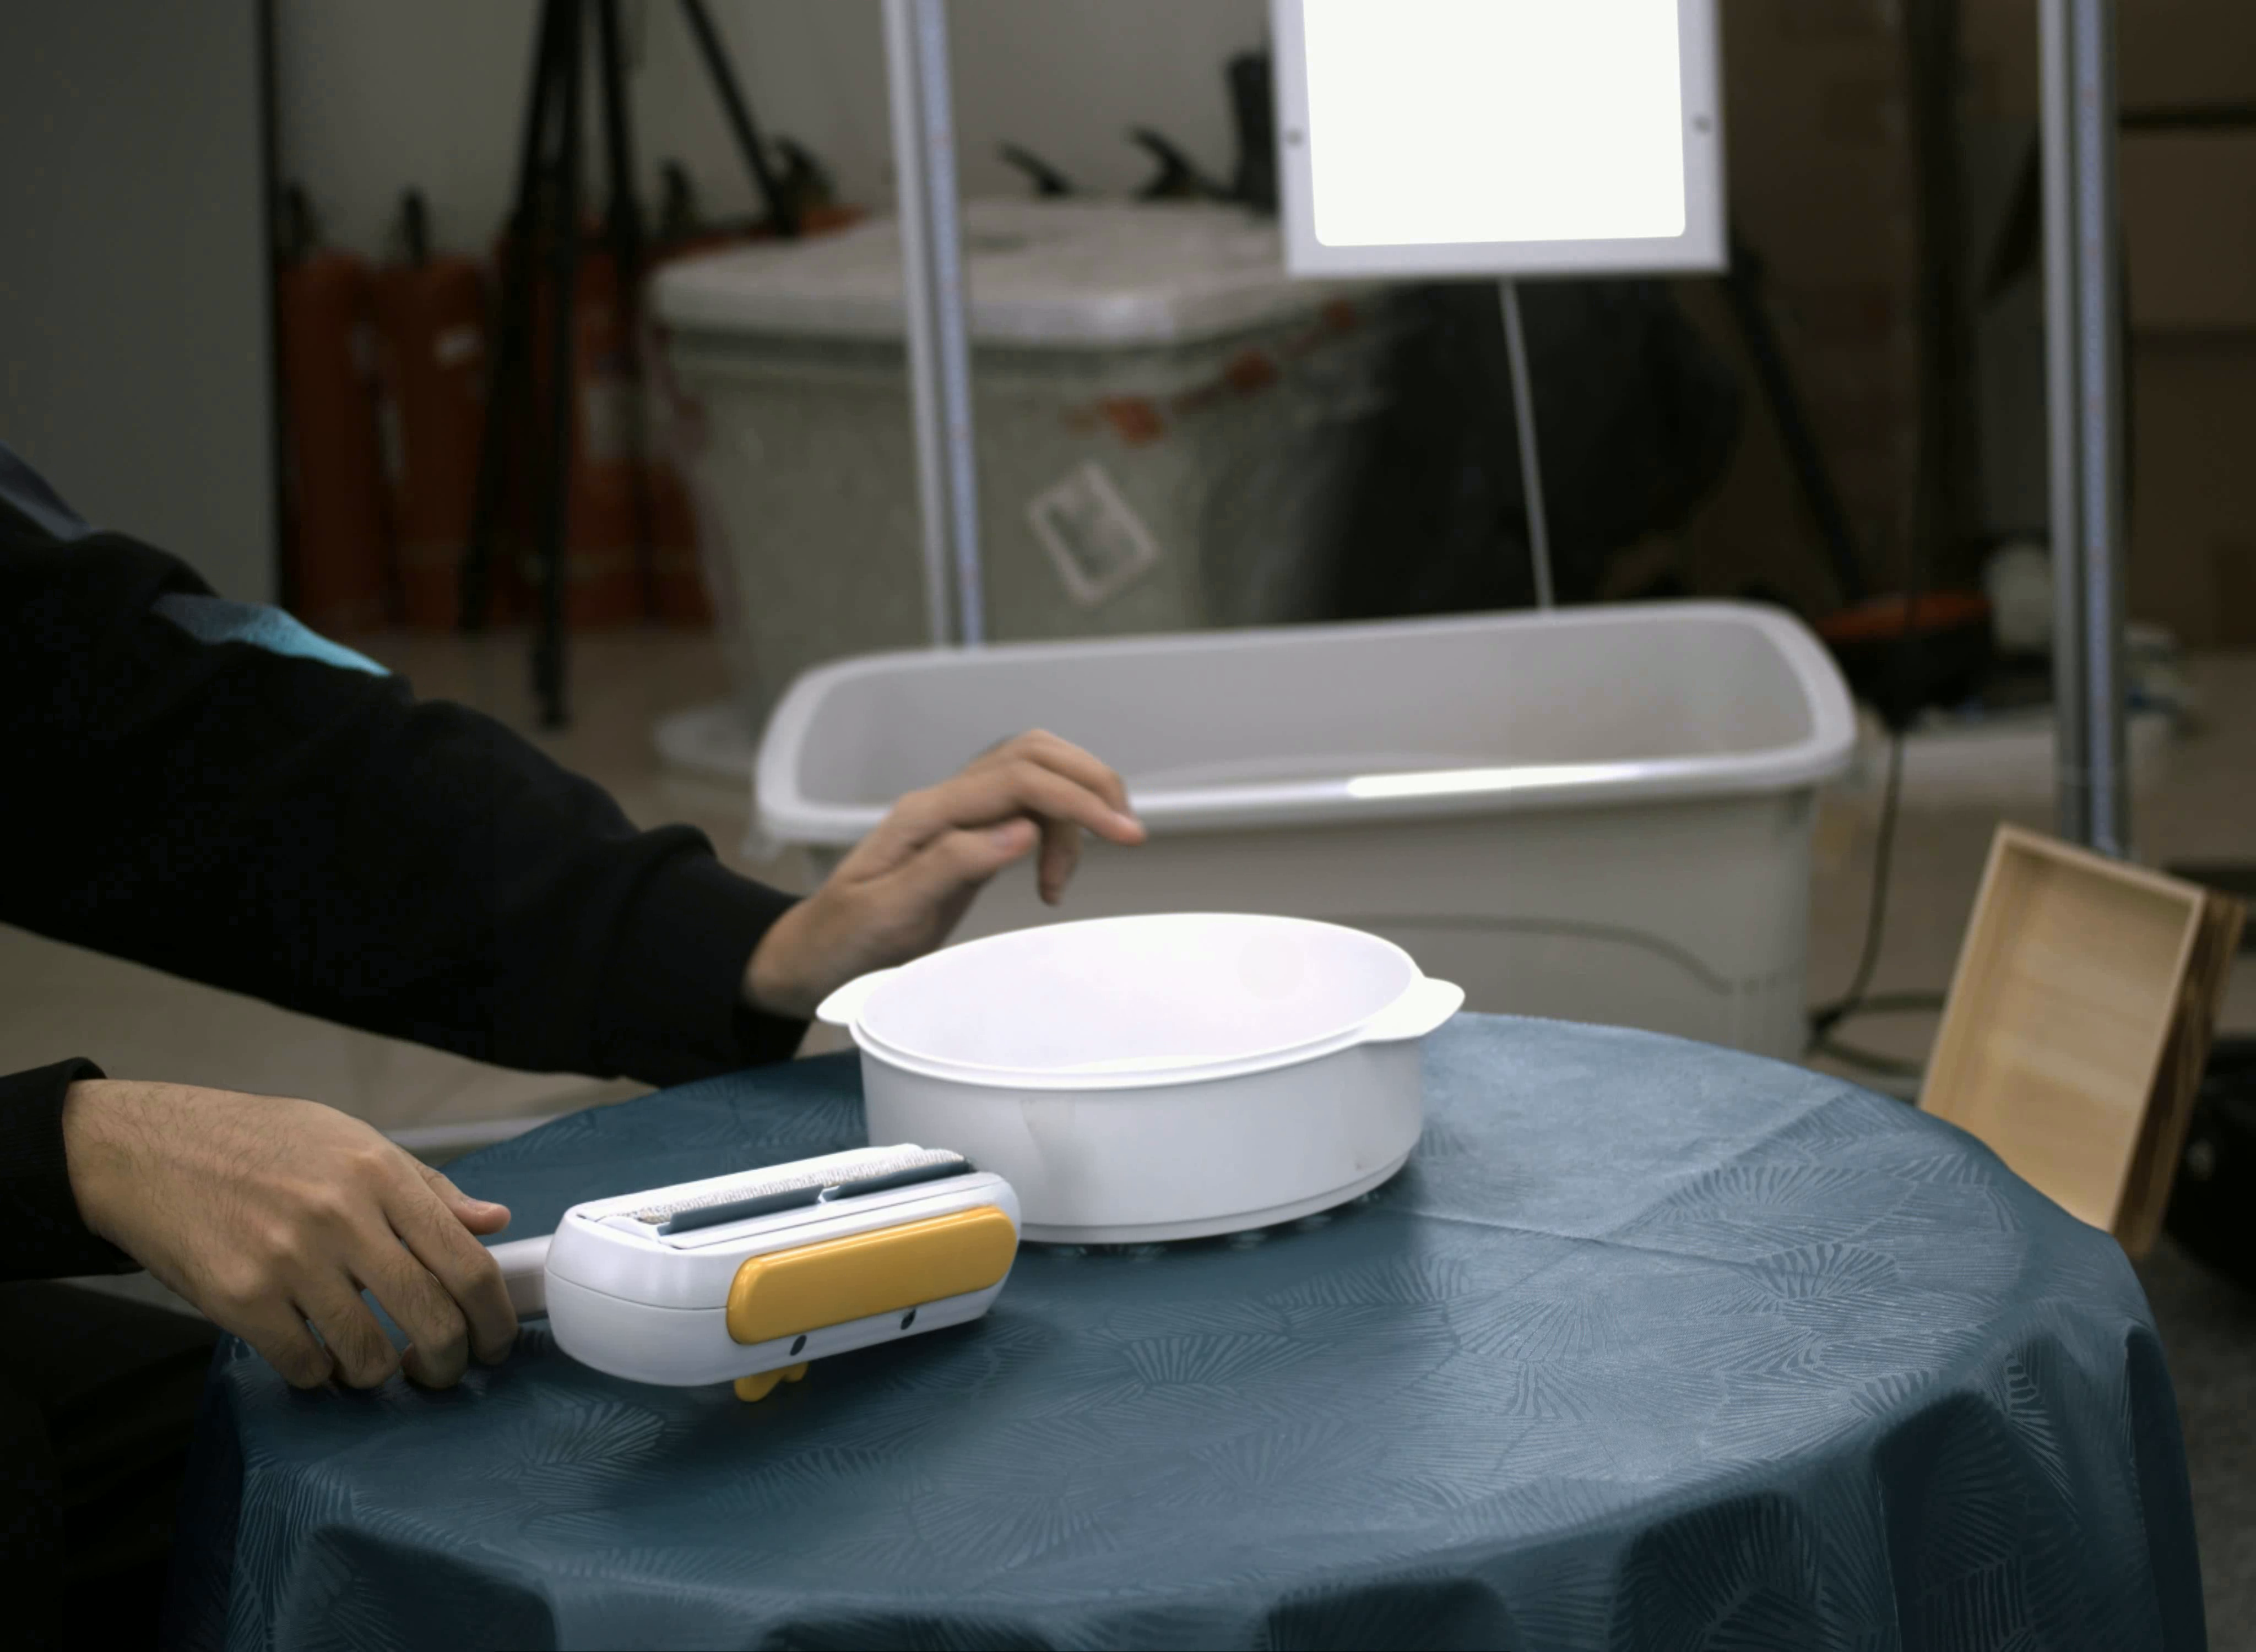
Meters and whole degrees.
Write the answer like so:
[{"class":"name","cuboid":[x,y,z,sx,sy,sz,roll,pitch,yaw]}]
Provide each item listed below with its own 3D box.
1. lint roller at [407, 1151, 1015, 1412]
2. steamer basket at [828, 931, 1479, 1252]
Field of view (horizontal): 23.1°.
[{"class":"lint roller","cuboid":[-0.156,0.140,1.754,0.196,0.074,0.188,4,11,39]},{"class":"steamer basket","cuboid":[0.011,0.091,1.905,0.234,0.069,0.198,-2,12,22]}]
